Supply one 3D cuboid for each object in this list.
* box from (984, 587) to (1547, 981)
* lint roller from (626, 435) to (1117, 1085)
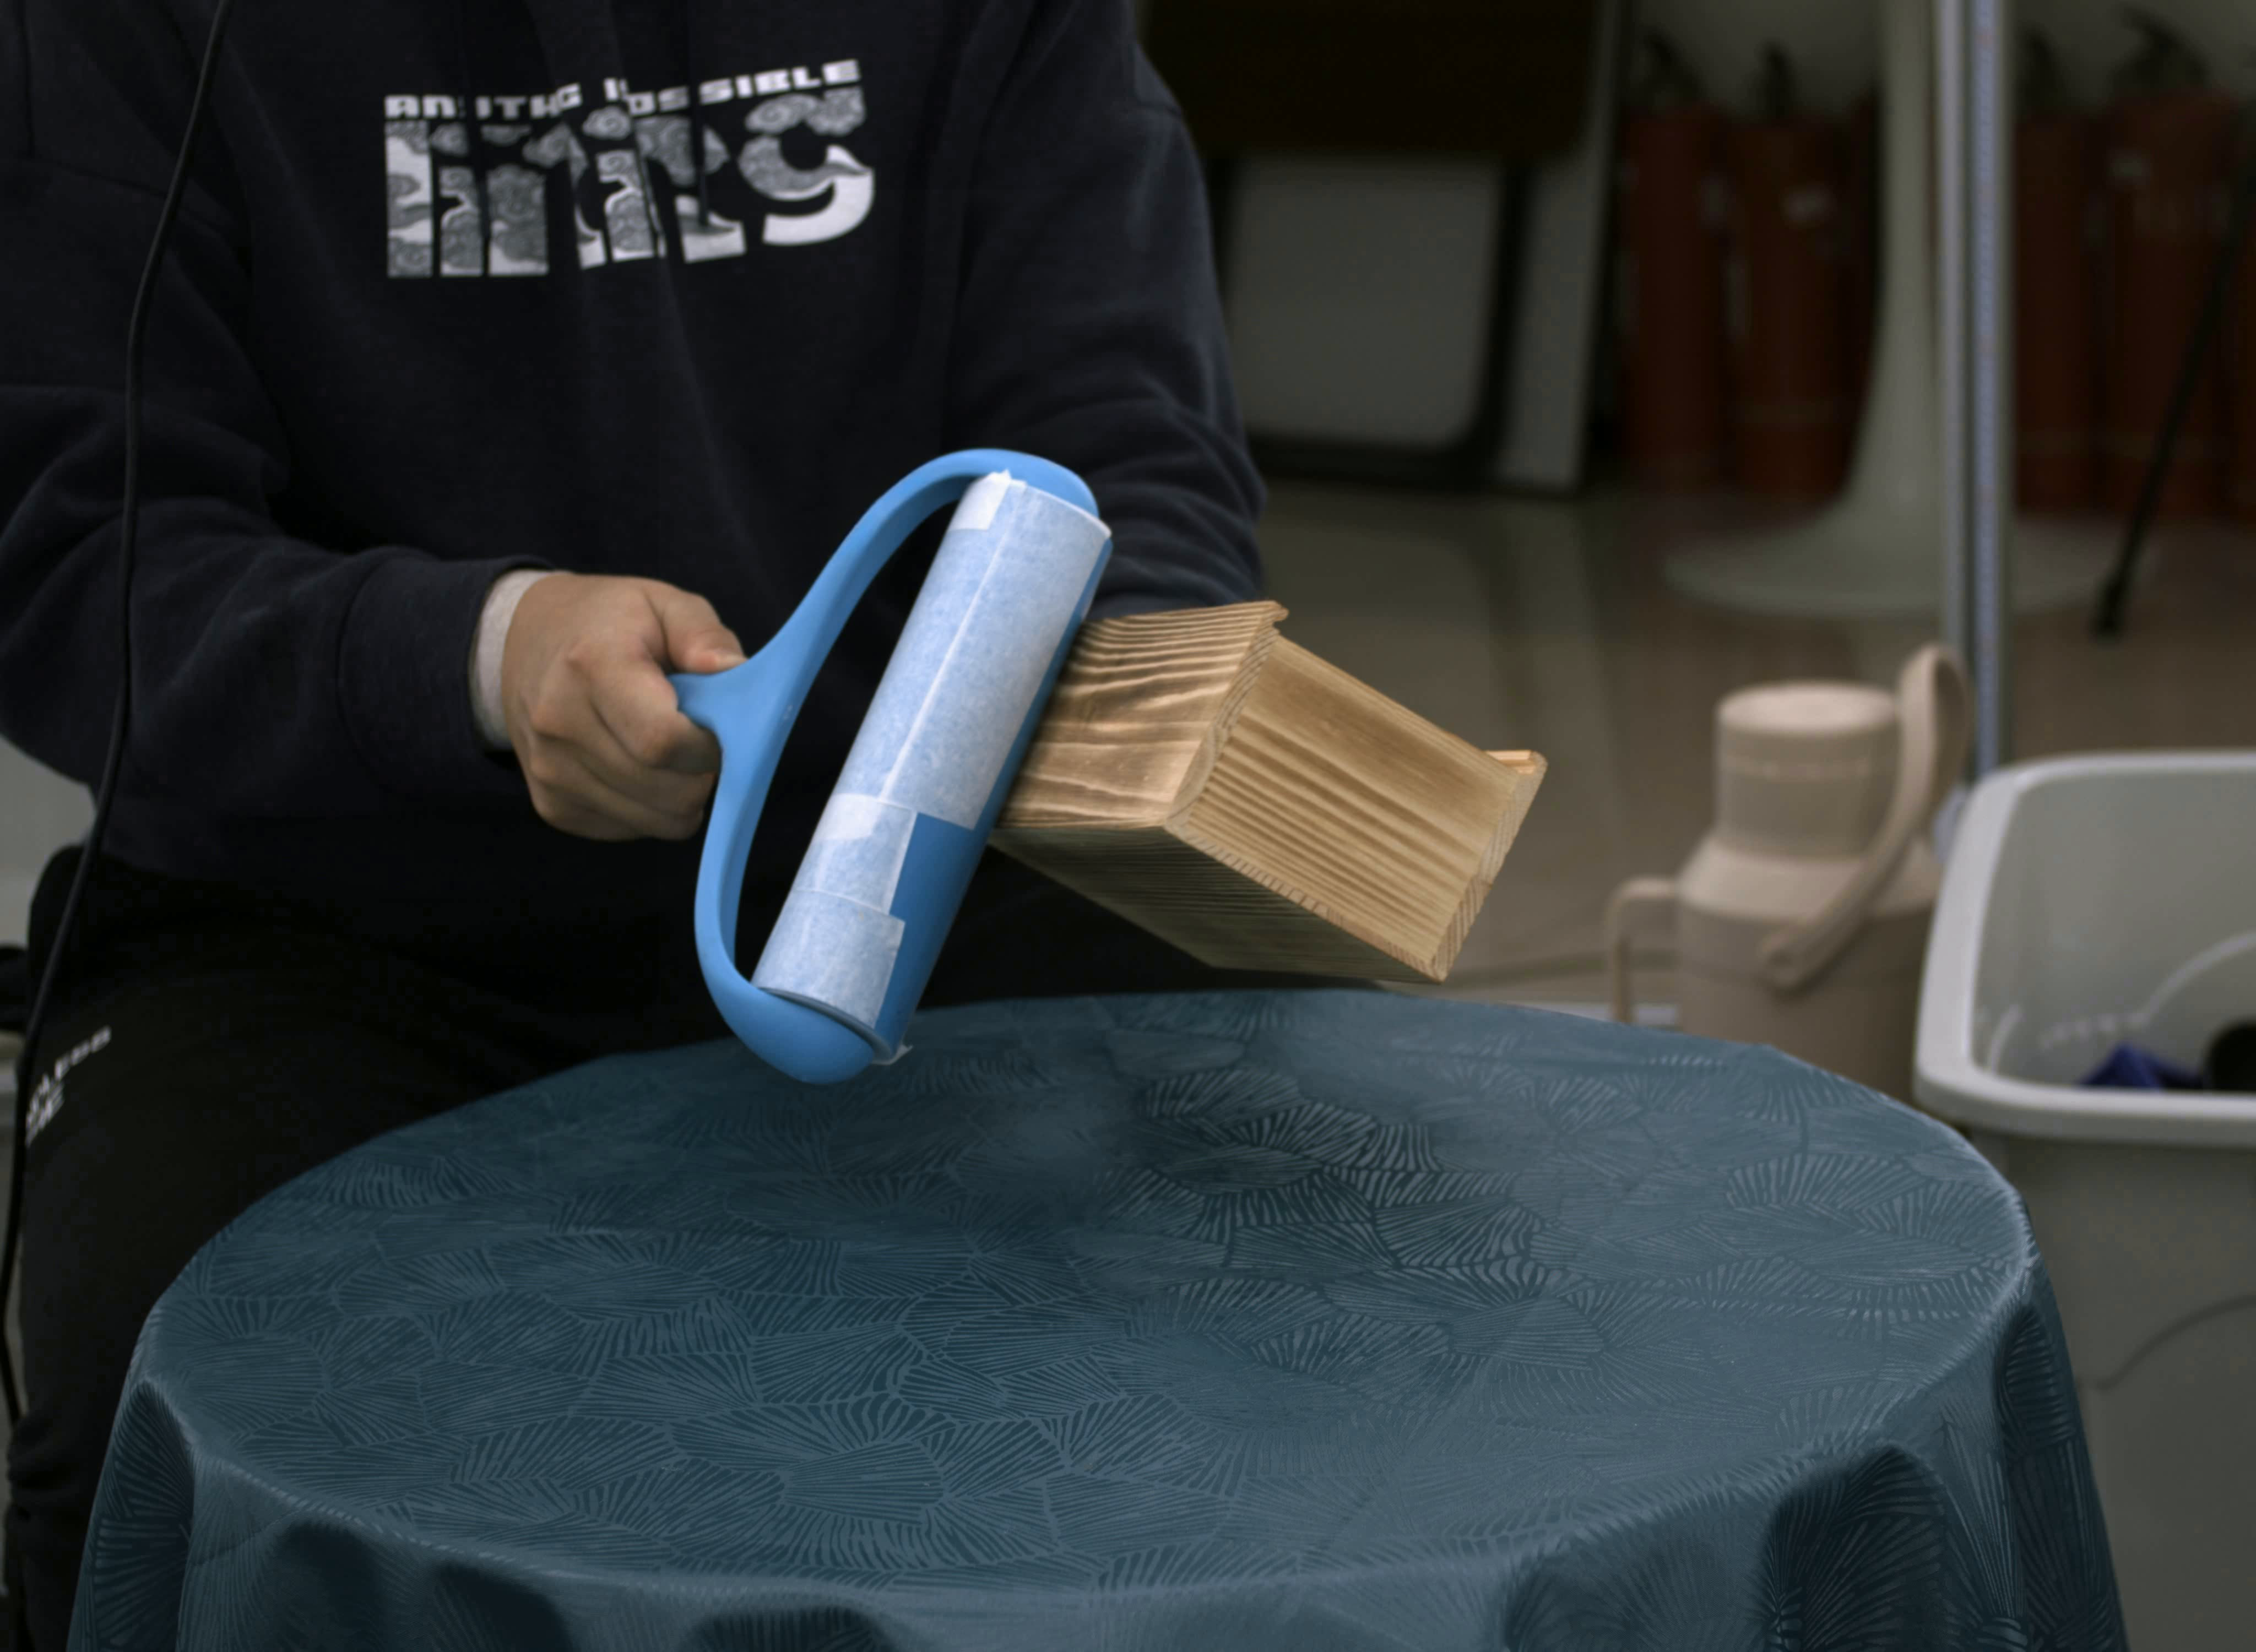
[{"bbox_3d":[0.036,-0.012,1.741,0.106,0.081,0.213,29,-9,-17],"label":"box"},{"bbox_3d":[-0.112,-0.029,1.812,0.181,0.230,0.067,8,-20,35],"label":"lint roller"}]
